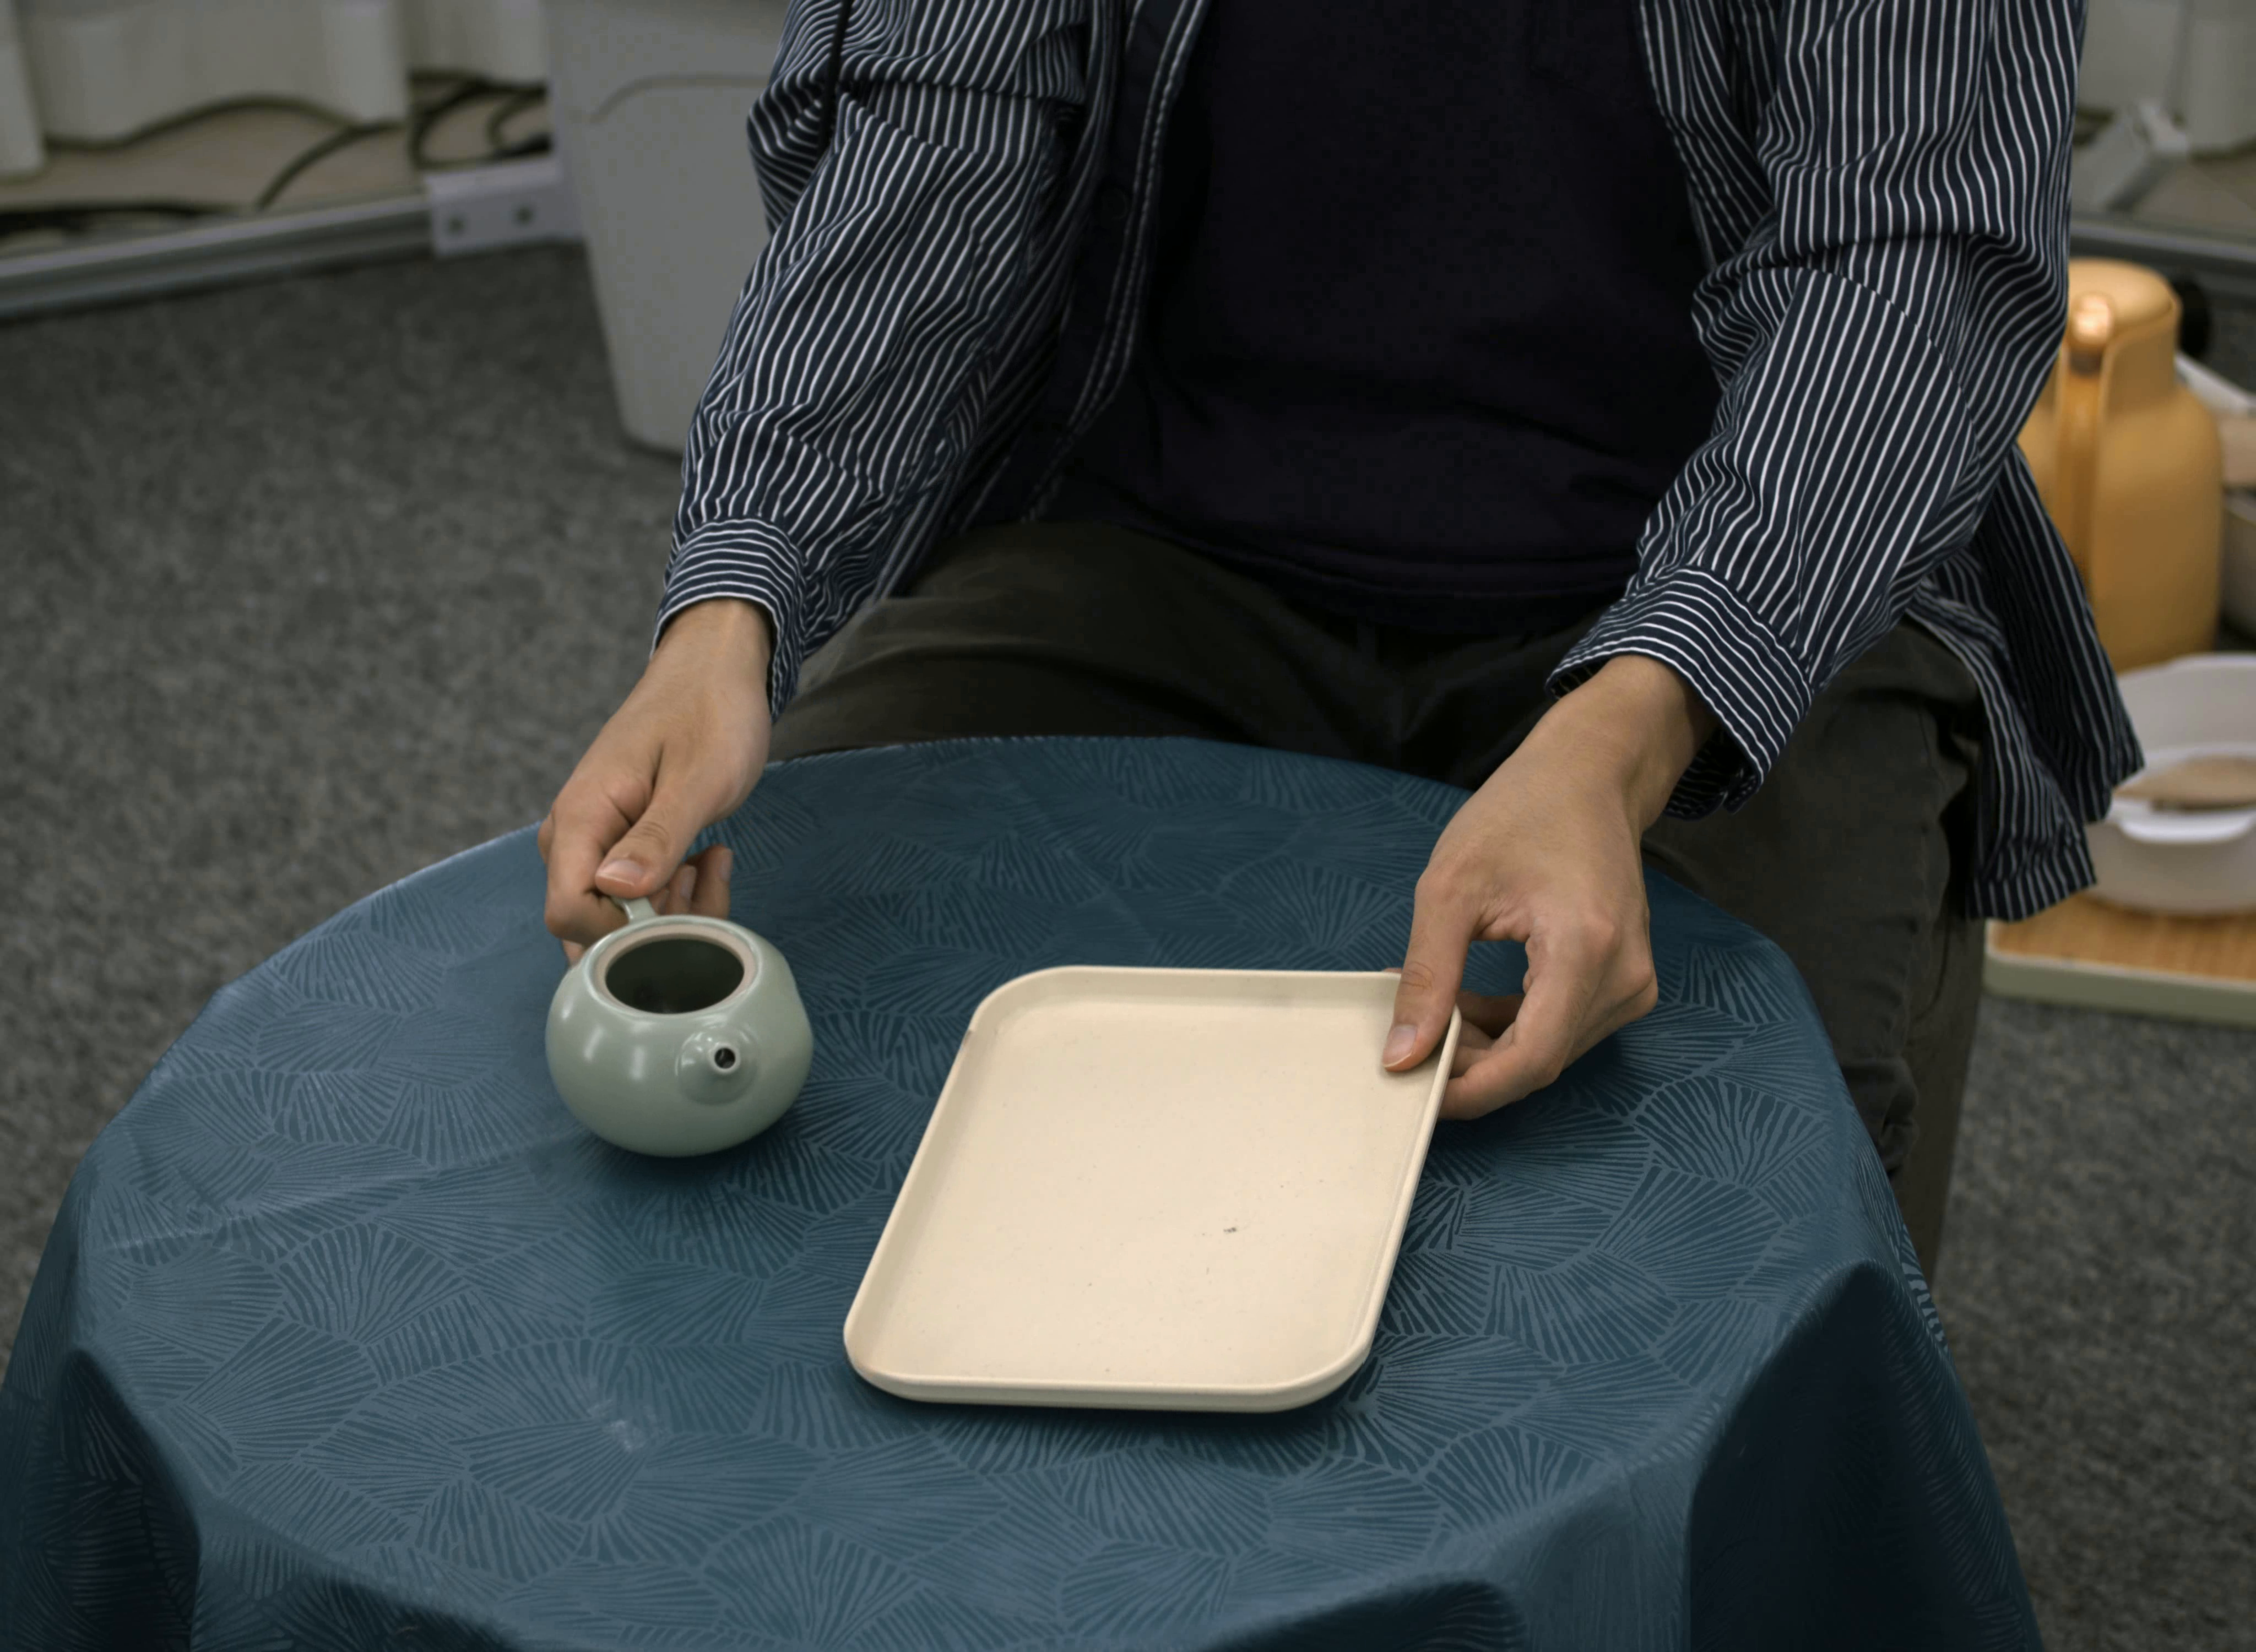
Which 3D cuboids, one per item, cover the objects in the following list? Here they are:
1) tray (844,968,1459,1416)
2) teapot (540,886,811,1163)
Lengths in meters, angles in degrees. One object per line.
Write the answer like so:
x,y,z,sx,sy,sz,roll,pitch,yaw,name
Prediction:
0.011,0.117,1.825,0.170,0.017,0.244,1,31,13,tray
-0.155,0.068,1.900,0.091,0.060,0.130,-12,35,-14,teapot
